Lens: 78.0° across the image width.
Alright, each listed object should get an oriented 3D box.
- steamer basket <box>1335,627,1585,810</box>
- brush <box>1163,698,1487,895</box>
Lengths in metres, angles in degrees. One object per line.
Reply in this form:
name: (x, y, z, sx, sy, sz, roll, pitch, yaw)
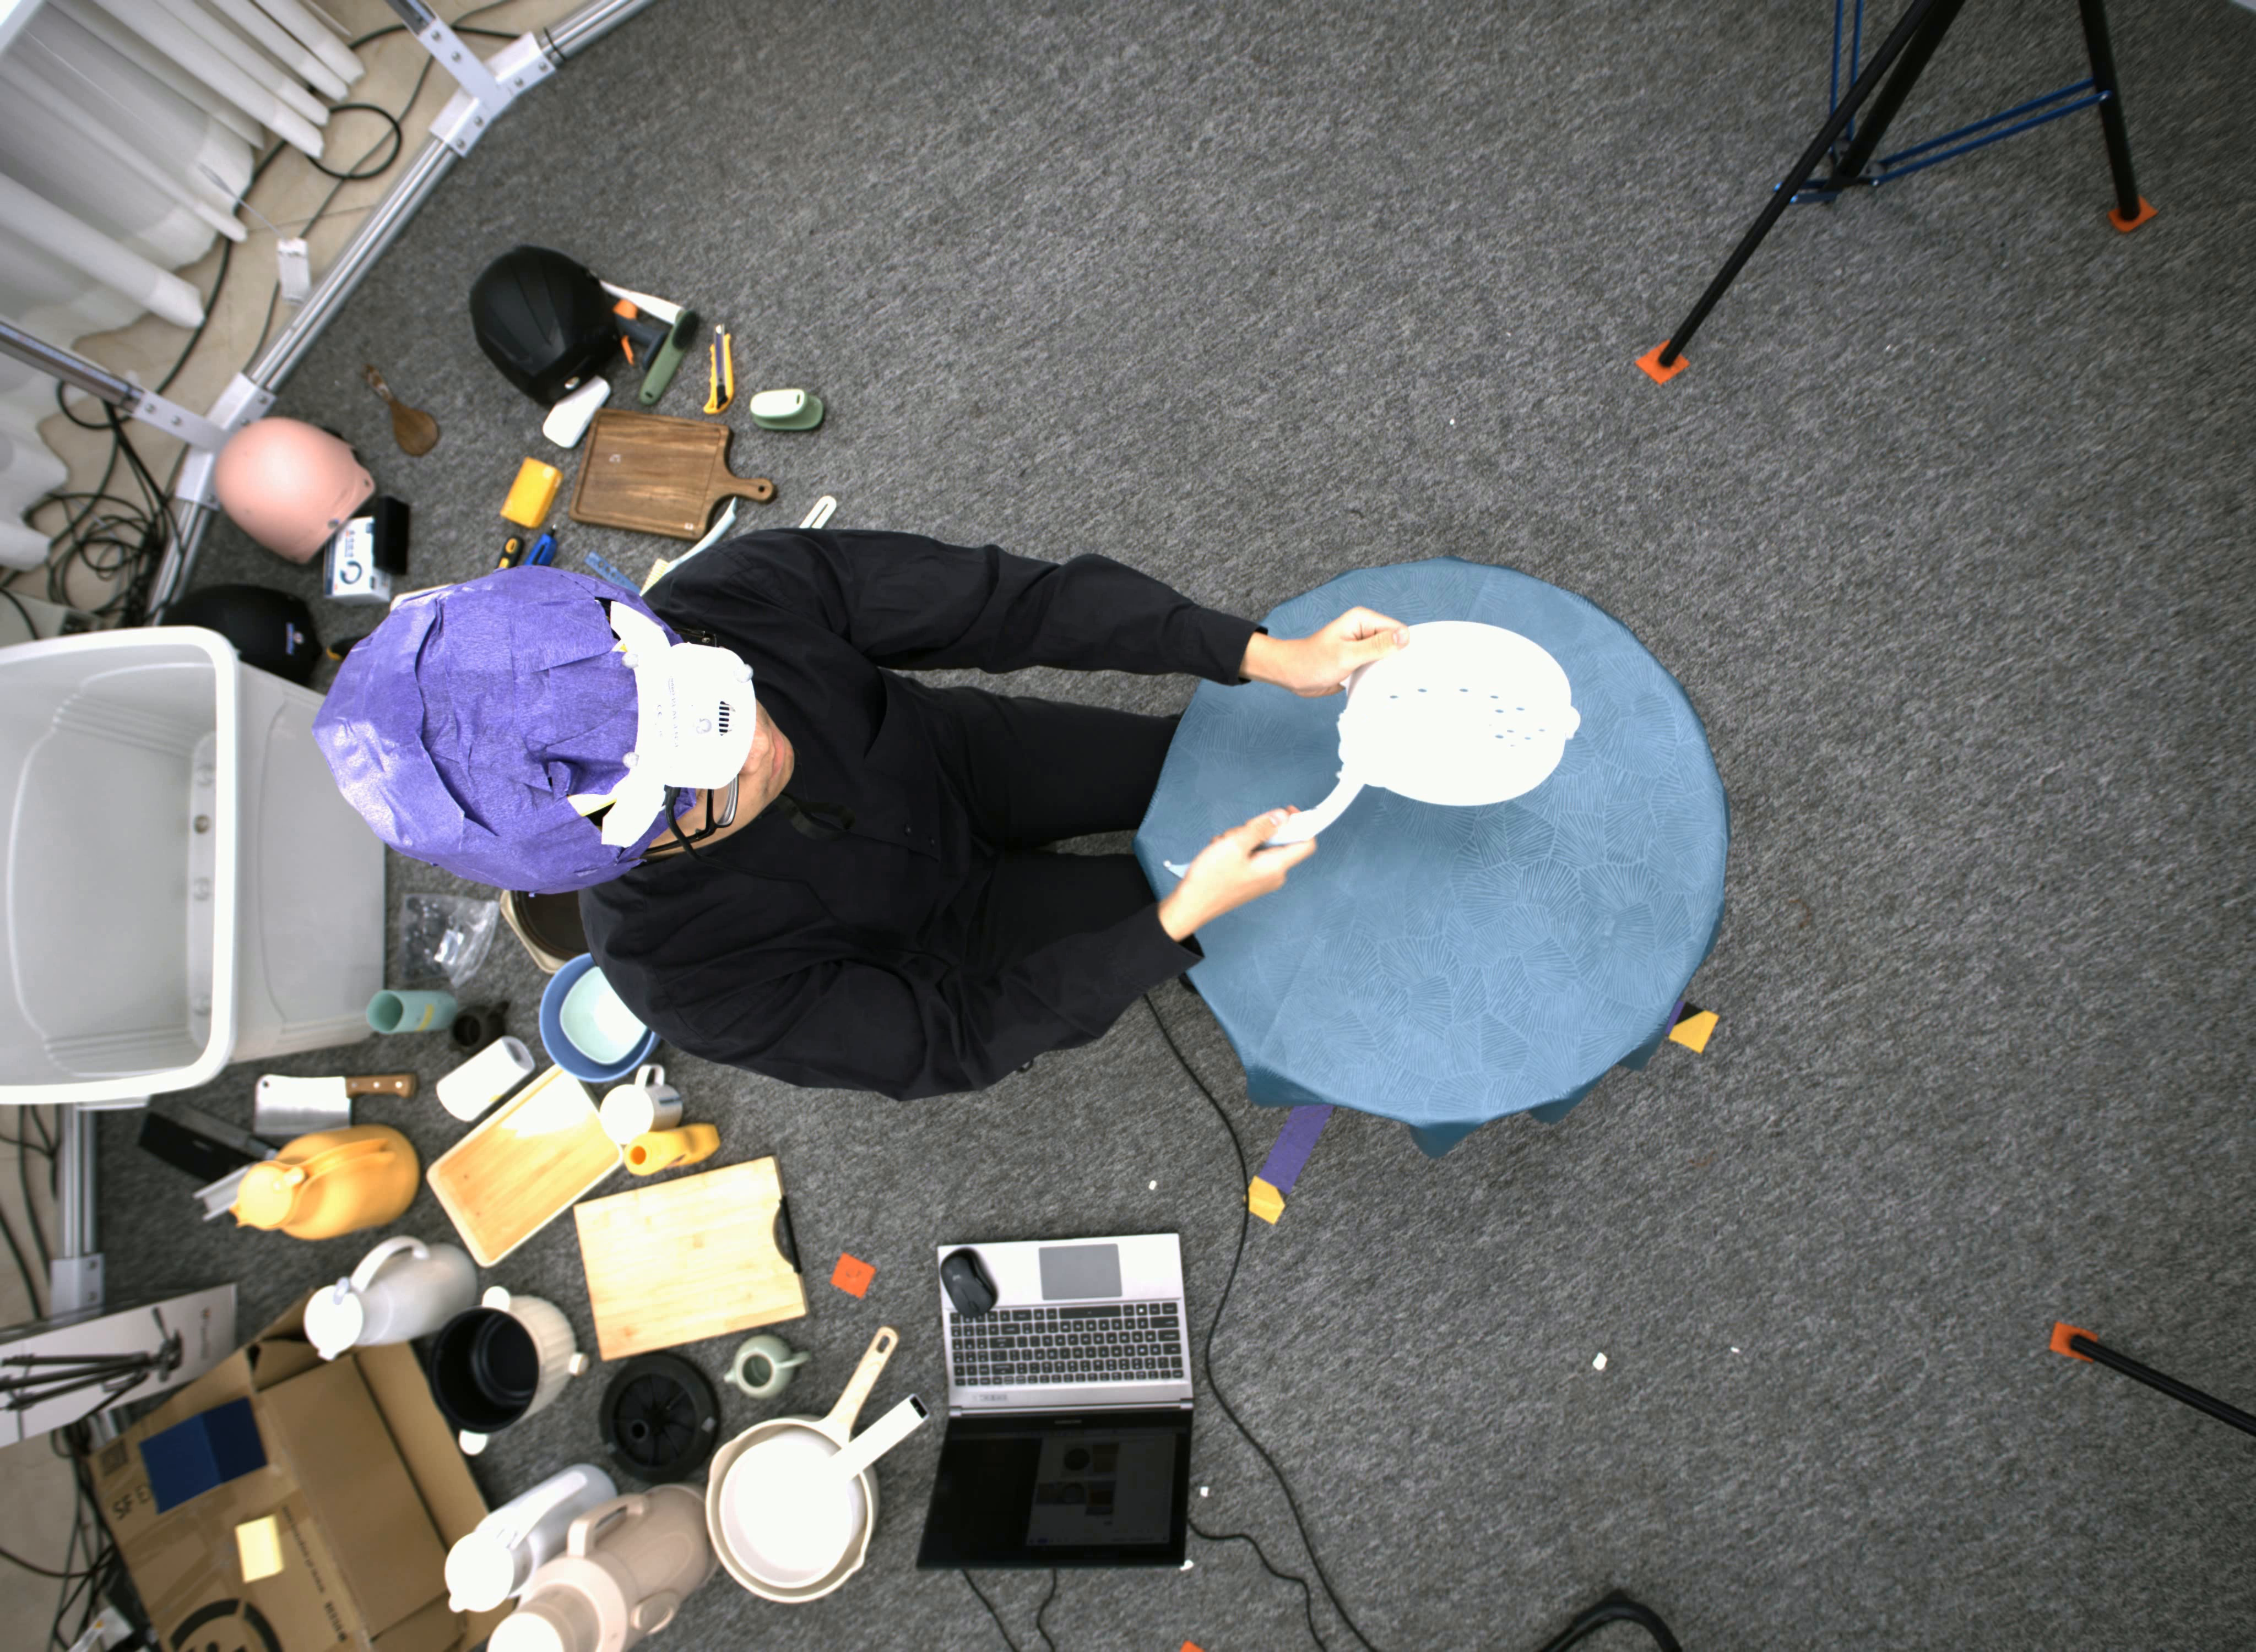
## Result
steamer basket: (0.297, -0.091, 1.231, 0.231, 0.206, 0.067, 16, 60, -6)
brush: (0.163, -0.039, 1.223, 0.330, 0.082, 0.084, -26, 104, 27)
